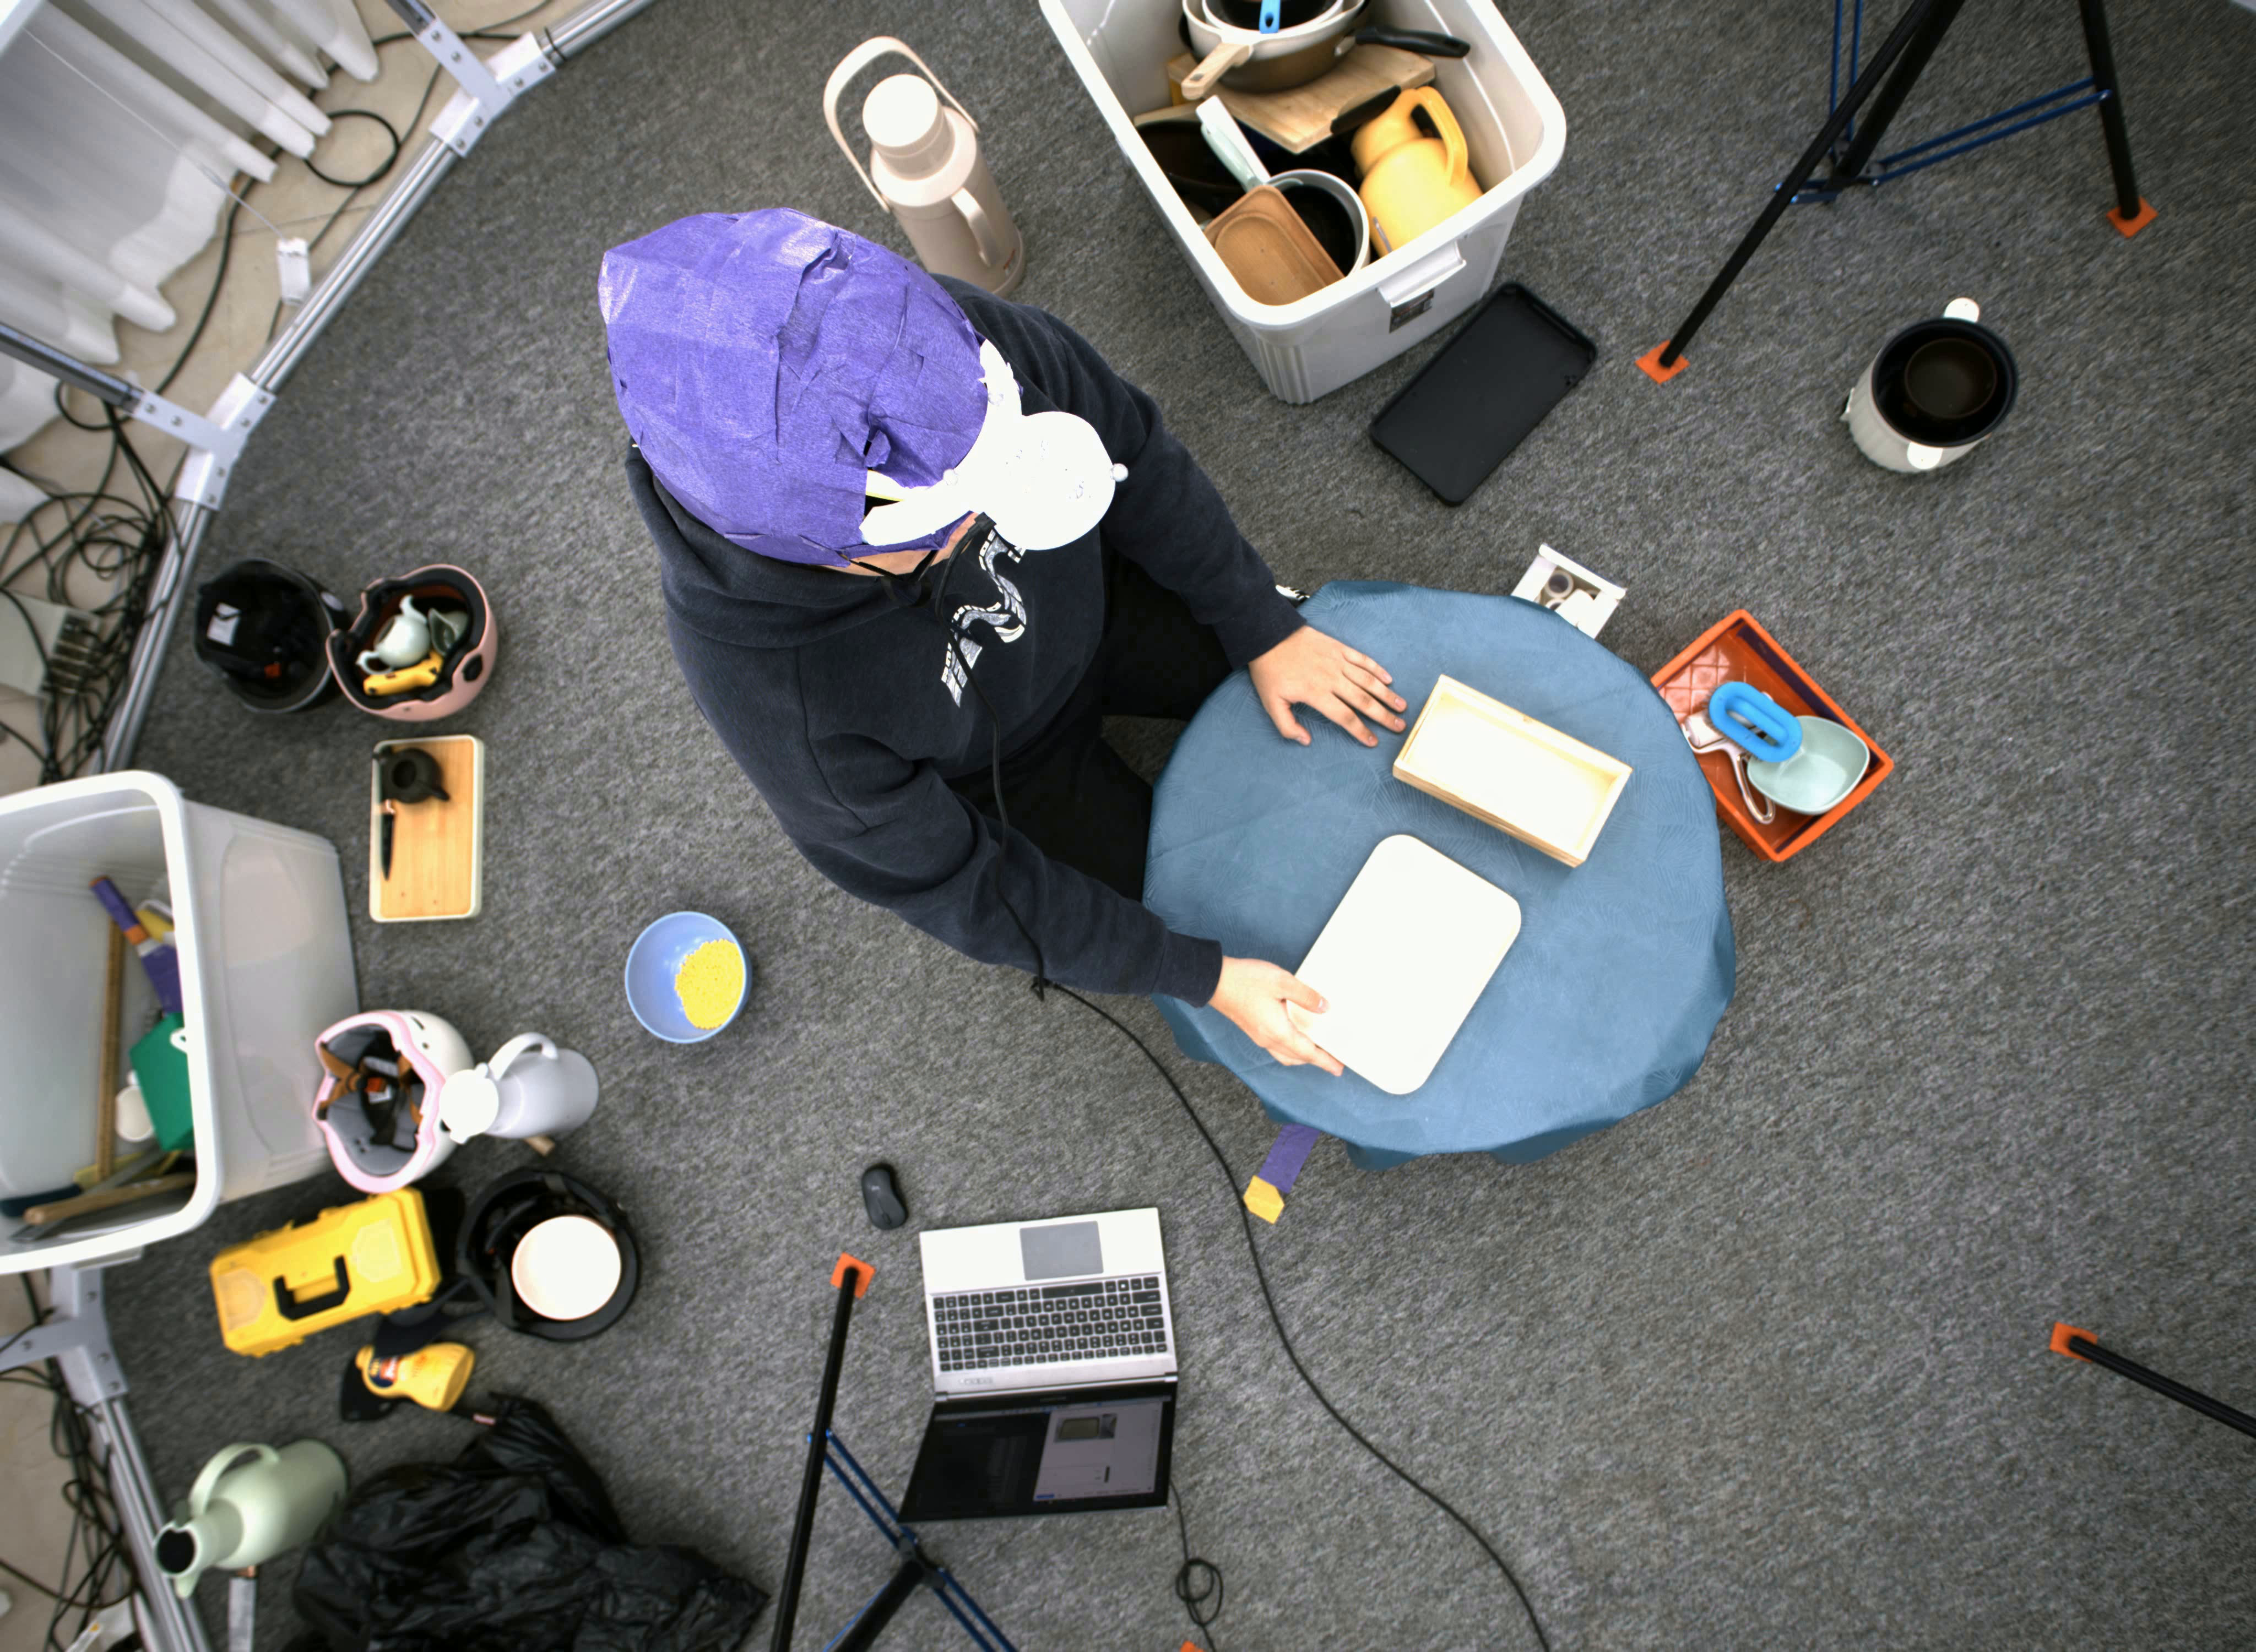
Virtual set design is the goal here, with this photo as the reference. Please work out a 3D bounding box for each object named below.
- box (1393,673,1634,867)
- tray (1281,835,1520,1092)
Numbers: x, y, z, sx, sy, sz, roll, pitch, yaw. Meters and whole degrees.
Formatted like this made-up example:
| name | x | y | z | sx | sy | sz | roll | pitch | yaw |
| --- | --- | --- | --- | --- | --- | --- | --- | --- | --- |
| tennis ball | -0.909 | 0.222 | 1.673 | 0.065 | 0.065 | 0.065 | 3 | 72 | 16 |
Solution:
| name | x | y | z | sx | sy | sz | roll | pitch | yaw |
| --- | --- | --- | --- | --- | --- | --- | --- | --- | --- |
| box | 0.390 | -0.059 | 1.405 | 0.211 | 0.080 | 0.107 | 28 | 90 | 11 |
| tray | 0.283 | 0.141 | 1.441 | 0.171 | 0.017 | 0.239 | 33 | 91 | 12 |
